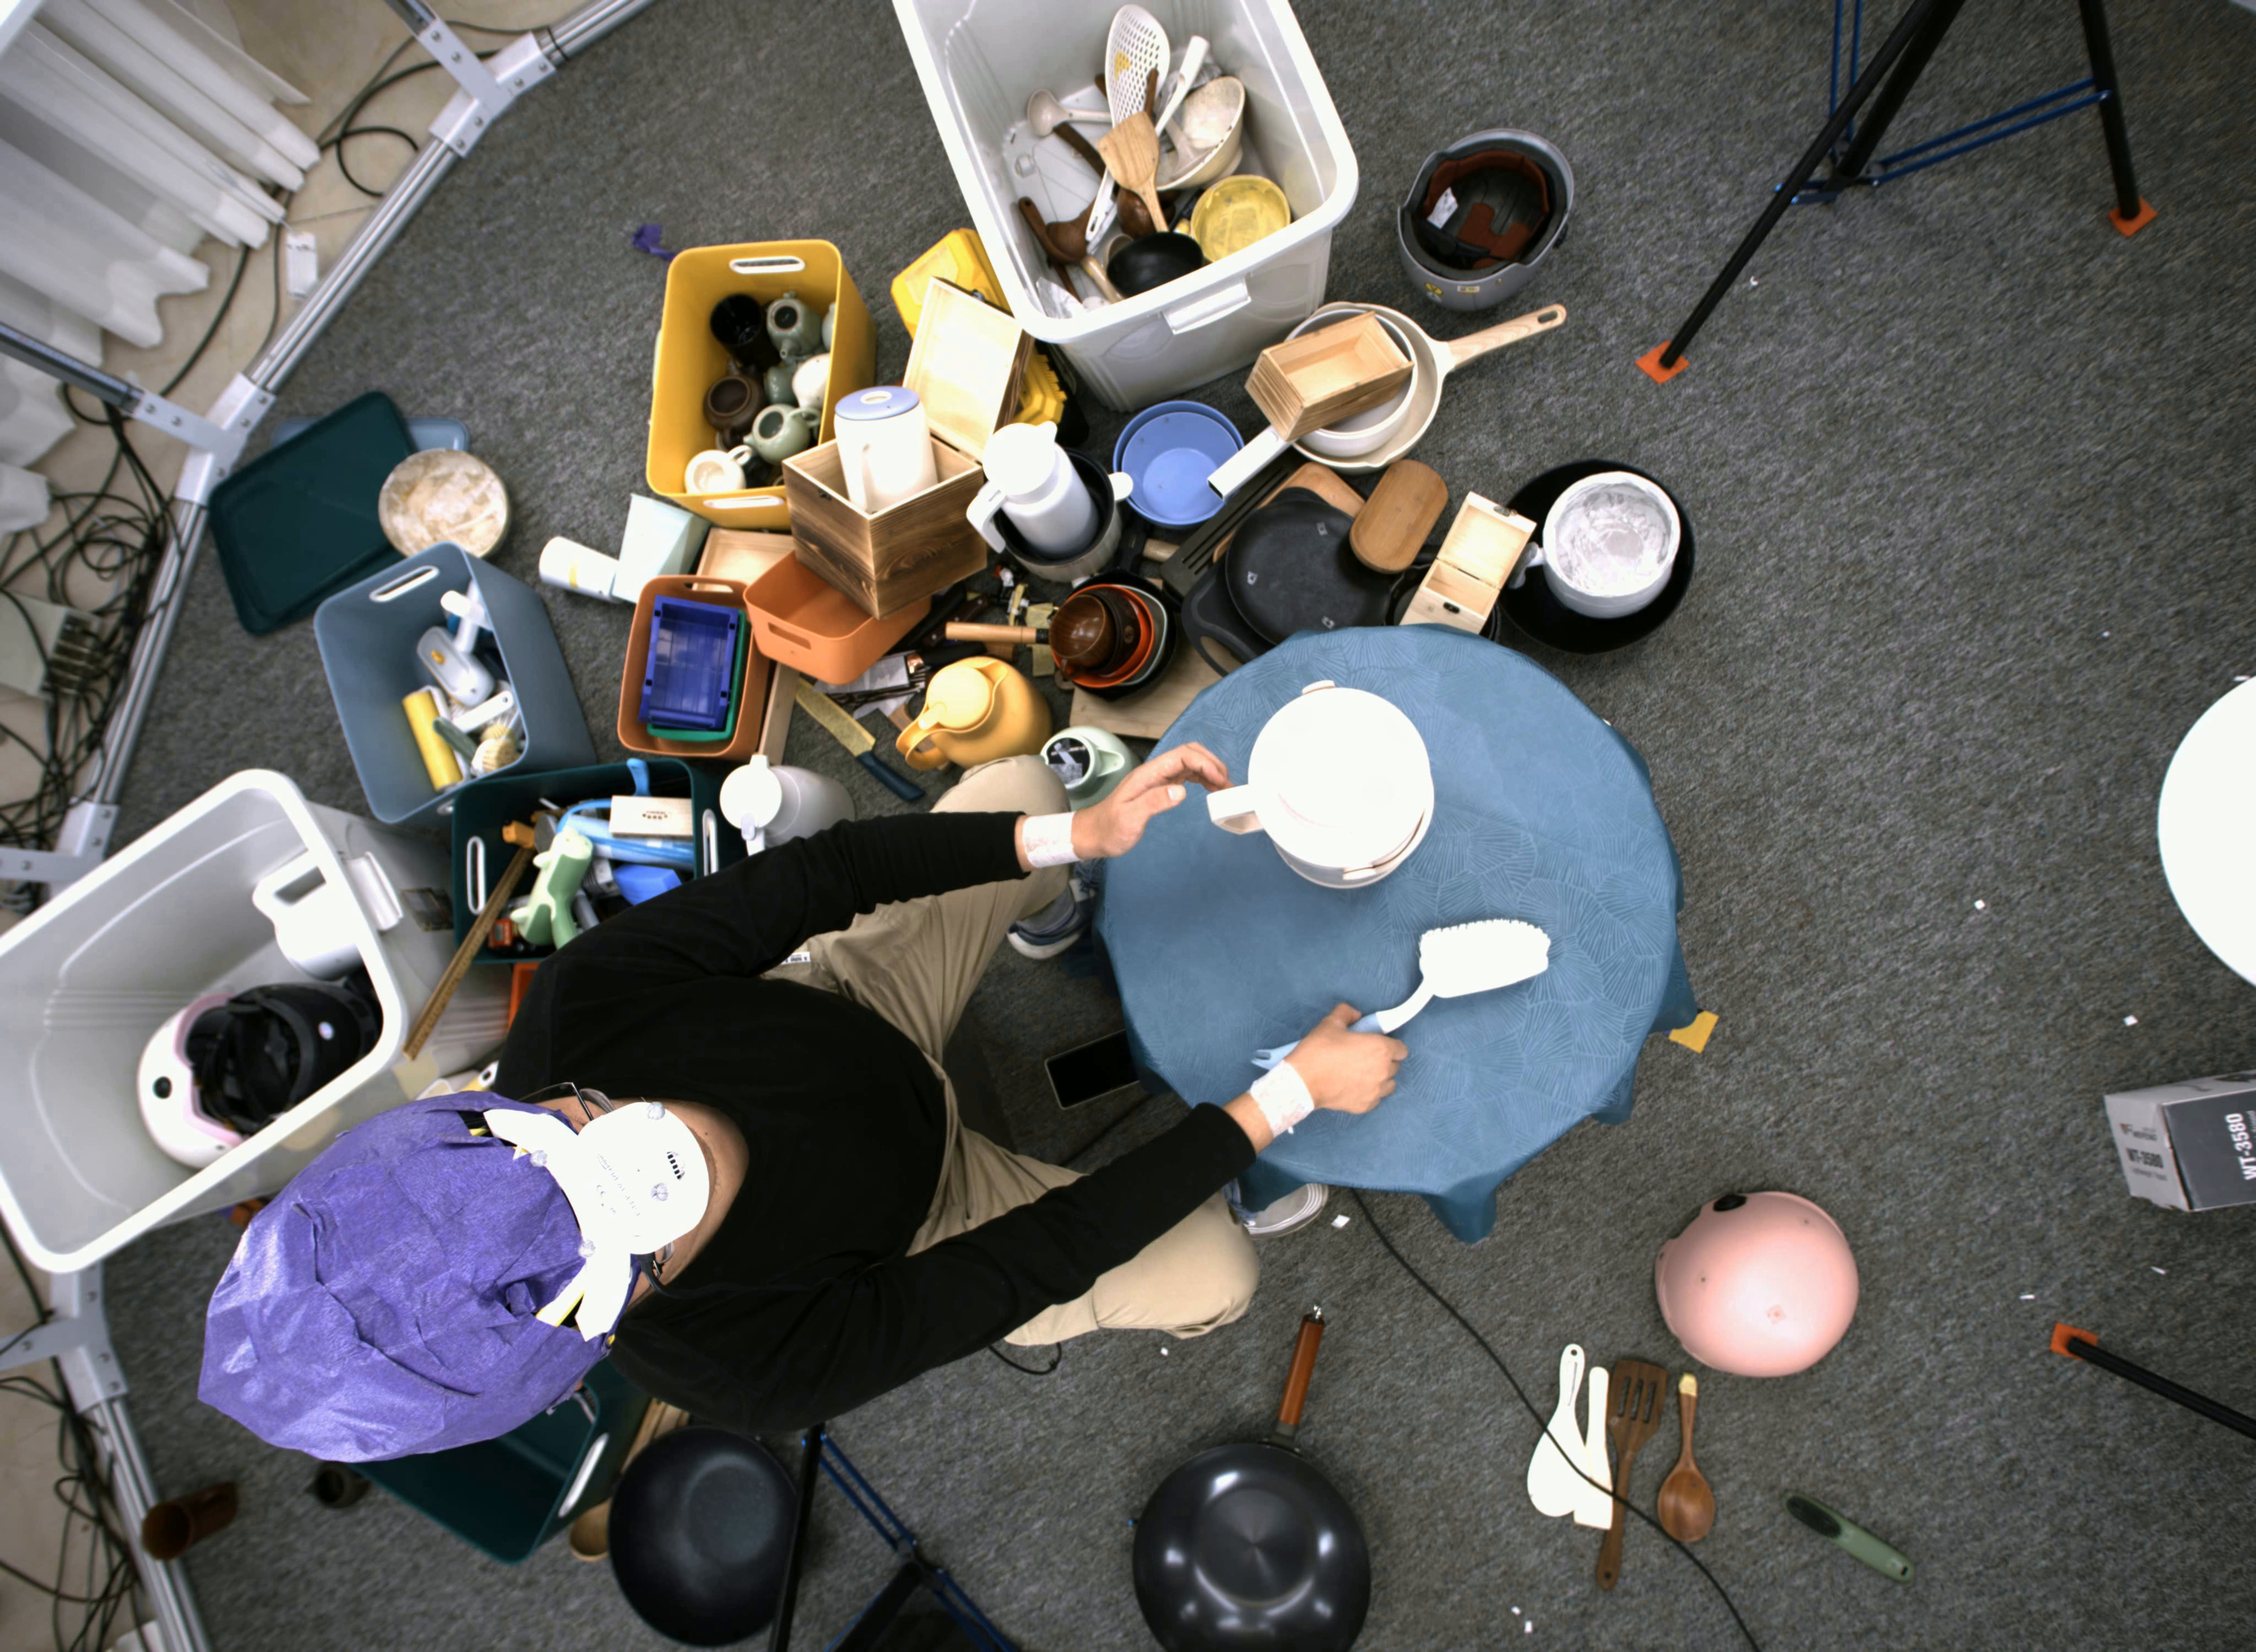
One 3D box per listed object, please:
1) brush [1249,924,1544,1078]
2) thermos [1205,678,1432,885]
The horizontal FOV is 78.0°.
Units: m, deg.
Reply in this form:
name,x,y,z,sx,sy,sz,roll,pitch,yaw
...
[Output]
name,x,y,z,sx,sy,sz,roll,pitch,yaw
brush,0.268,0.171,1.416,0.327,0.083,0.084,-21,83,8
thermos,0.181,-0.034,1.281,0.208,0.406,0.174,-13,84,8
